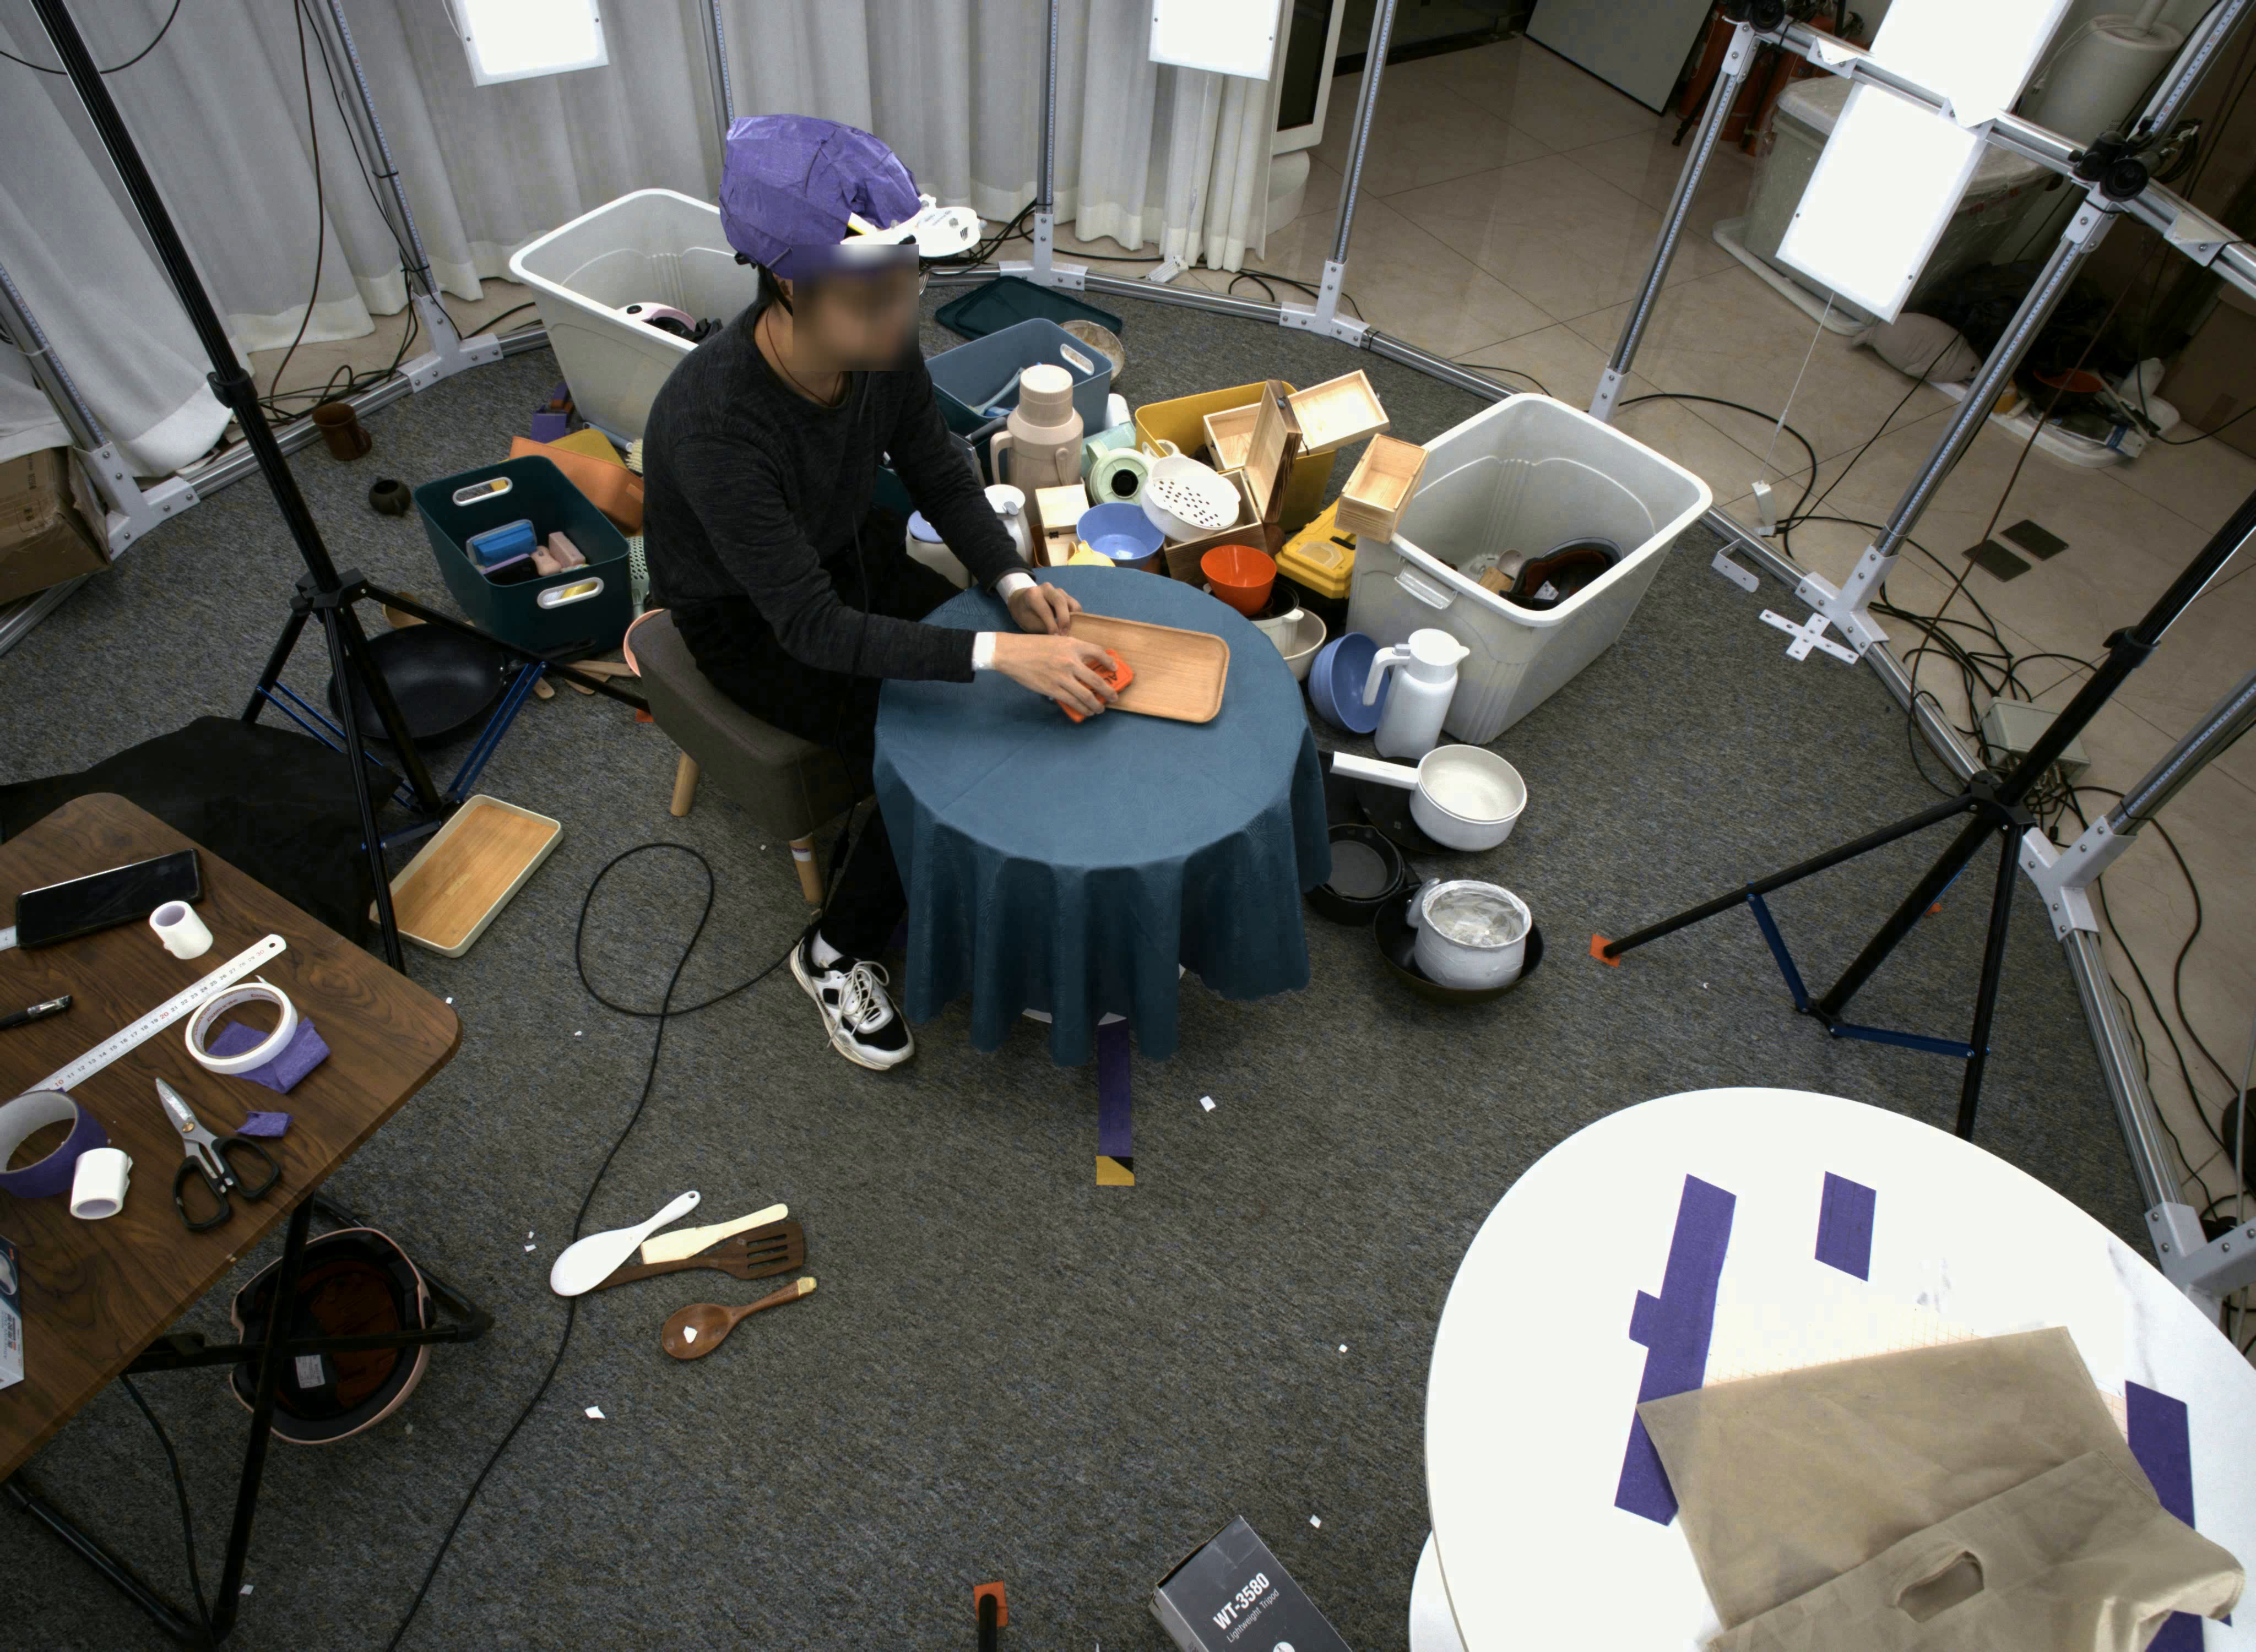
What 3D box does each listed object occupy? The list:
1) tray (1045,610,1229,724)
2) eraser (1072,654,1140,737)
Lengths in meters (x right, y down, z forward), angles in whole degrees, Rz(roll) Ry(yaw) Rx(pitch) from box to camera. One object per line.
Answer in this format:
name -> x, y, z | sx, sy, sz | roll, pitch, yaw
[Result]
tray -> 0.013, -0.224, 1.812 | 0.251, 0.022, 0.131 | 11, 82, 6
eraser -> -0.031, -0.183, 1.792 | 0.059, 0.022, 0.108 | 30, 82, 7
